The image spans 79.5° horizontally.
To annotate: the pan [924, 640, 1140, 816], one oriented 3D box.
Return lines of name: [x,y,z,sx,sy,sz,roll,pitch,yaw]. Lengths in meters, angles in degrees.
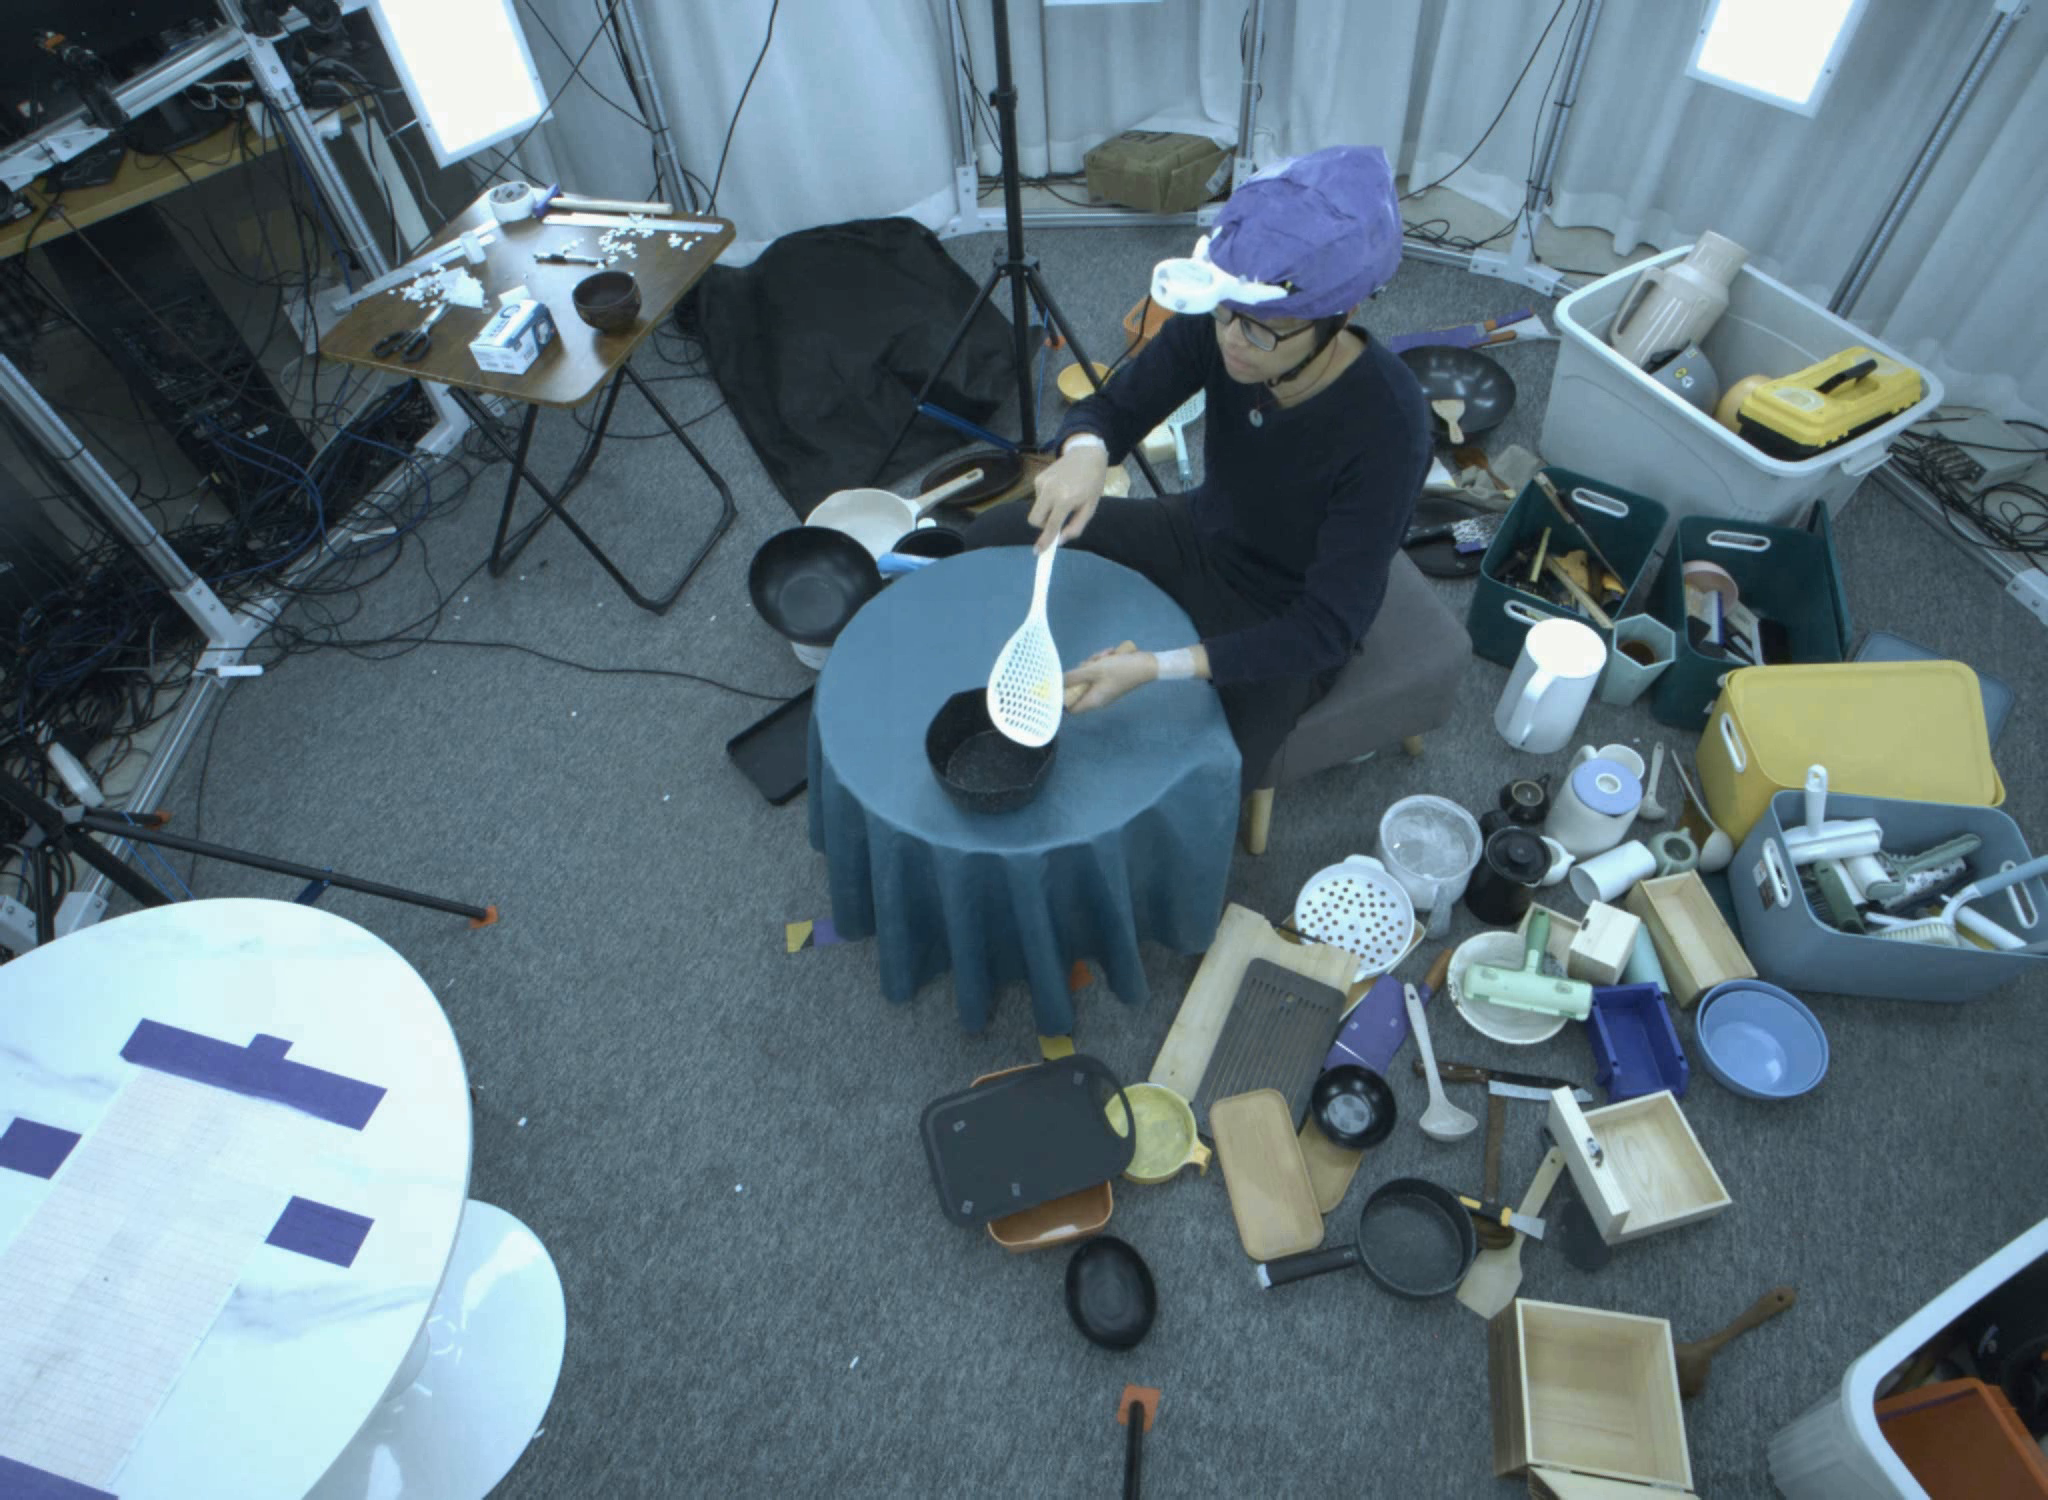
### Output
pan: [0.022,-0.040,1.743,0.345,0.109,0.203,-33,58,-15]

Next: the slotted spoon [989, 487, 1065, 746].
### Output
slotted spoon: [0.022,-0.177,1.649,0.133,0.350,0.051,22,28,37]
